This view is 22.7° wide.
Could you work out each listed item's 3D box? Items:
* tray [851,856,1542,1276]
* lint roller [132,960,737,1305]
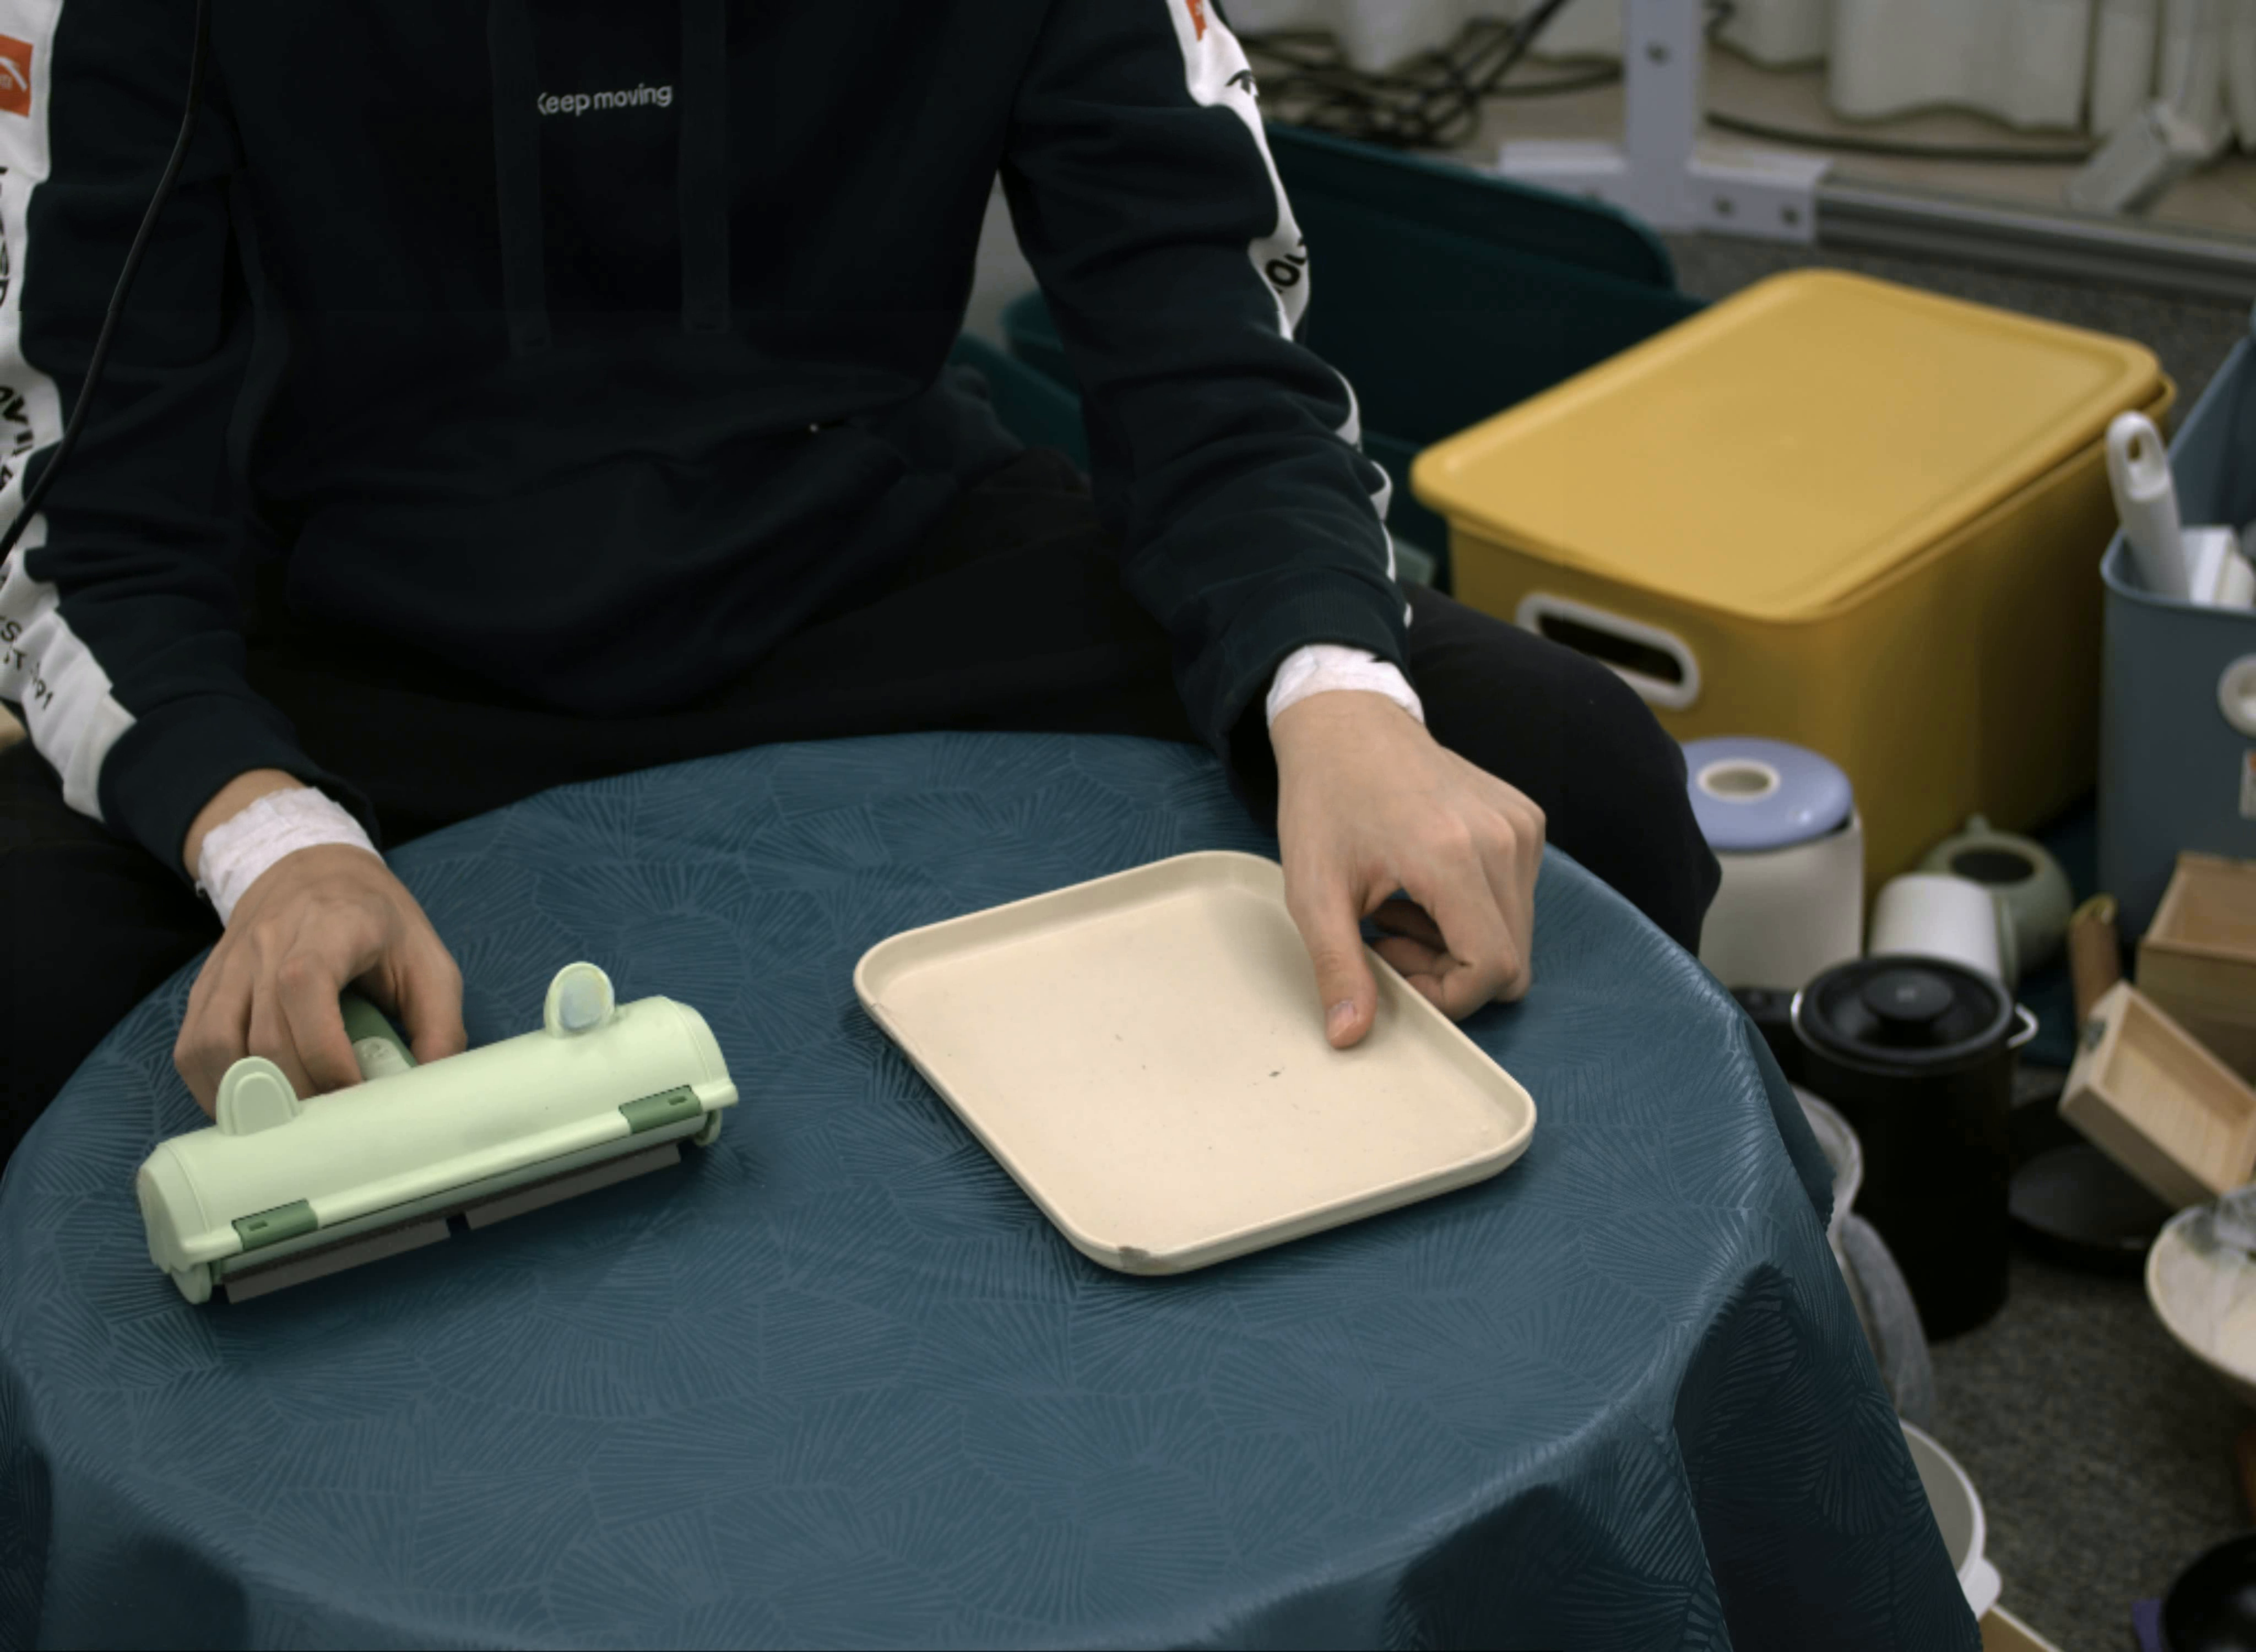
[{"bbox_3d":[0.020,0.080,1.918,0.172,0.017,0.241,-14,30,-22],"label":"tray"},{"bbox_3d":[-0.254,0.075,1.892,0.199,0.081,0.184,-16,34,-23],"label":"lint roller"}]
